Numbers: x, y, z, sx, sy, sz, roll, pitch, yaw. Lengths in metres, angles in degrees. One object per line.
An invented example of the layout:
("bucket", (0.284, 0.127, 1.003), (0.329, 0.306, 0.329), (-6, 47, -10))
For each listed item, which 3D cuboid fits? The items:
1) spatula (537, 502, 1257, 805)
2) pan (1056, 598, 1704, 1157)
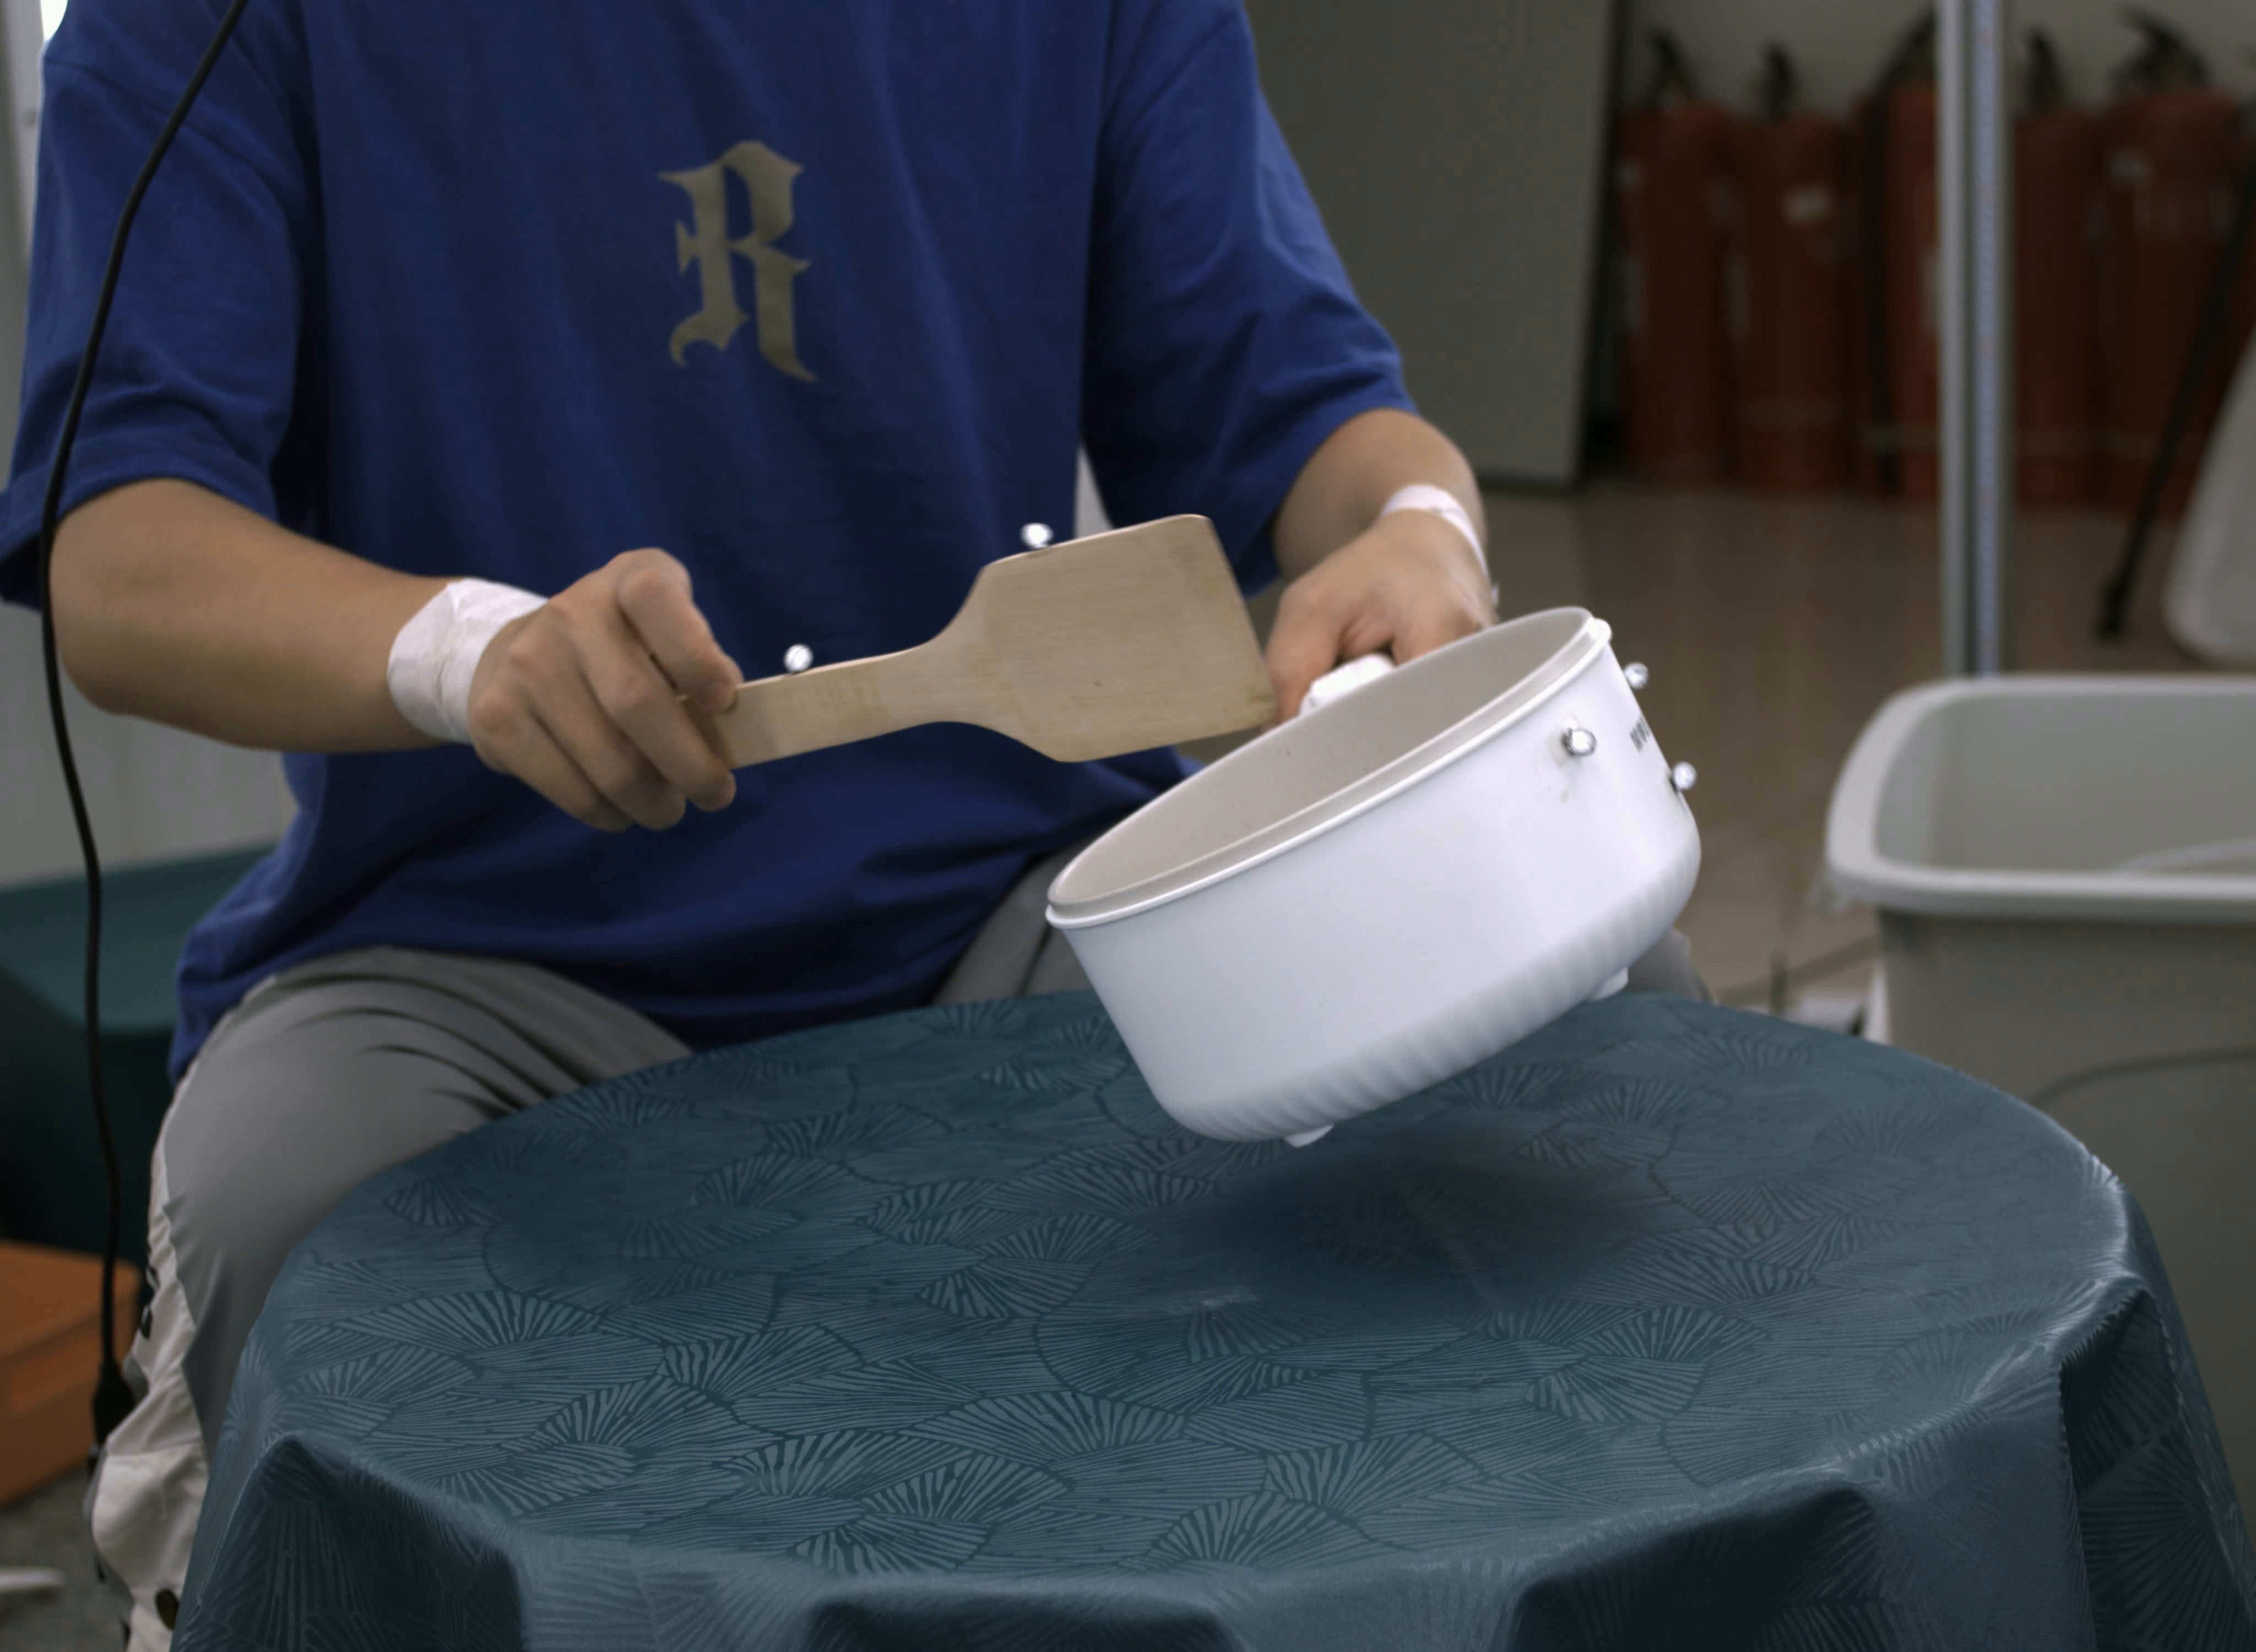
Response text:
("spatula", (-0.084, -0.043, 1.713), (0.295, 0.072, 0.010), (-12, 16, 40))
("pan", (0.089, 0.008, 1.779), (0.200, 0.102, 0.354), (-30, 7, 8))
